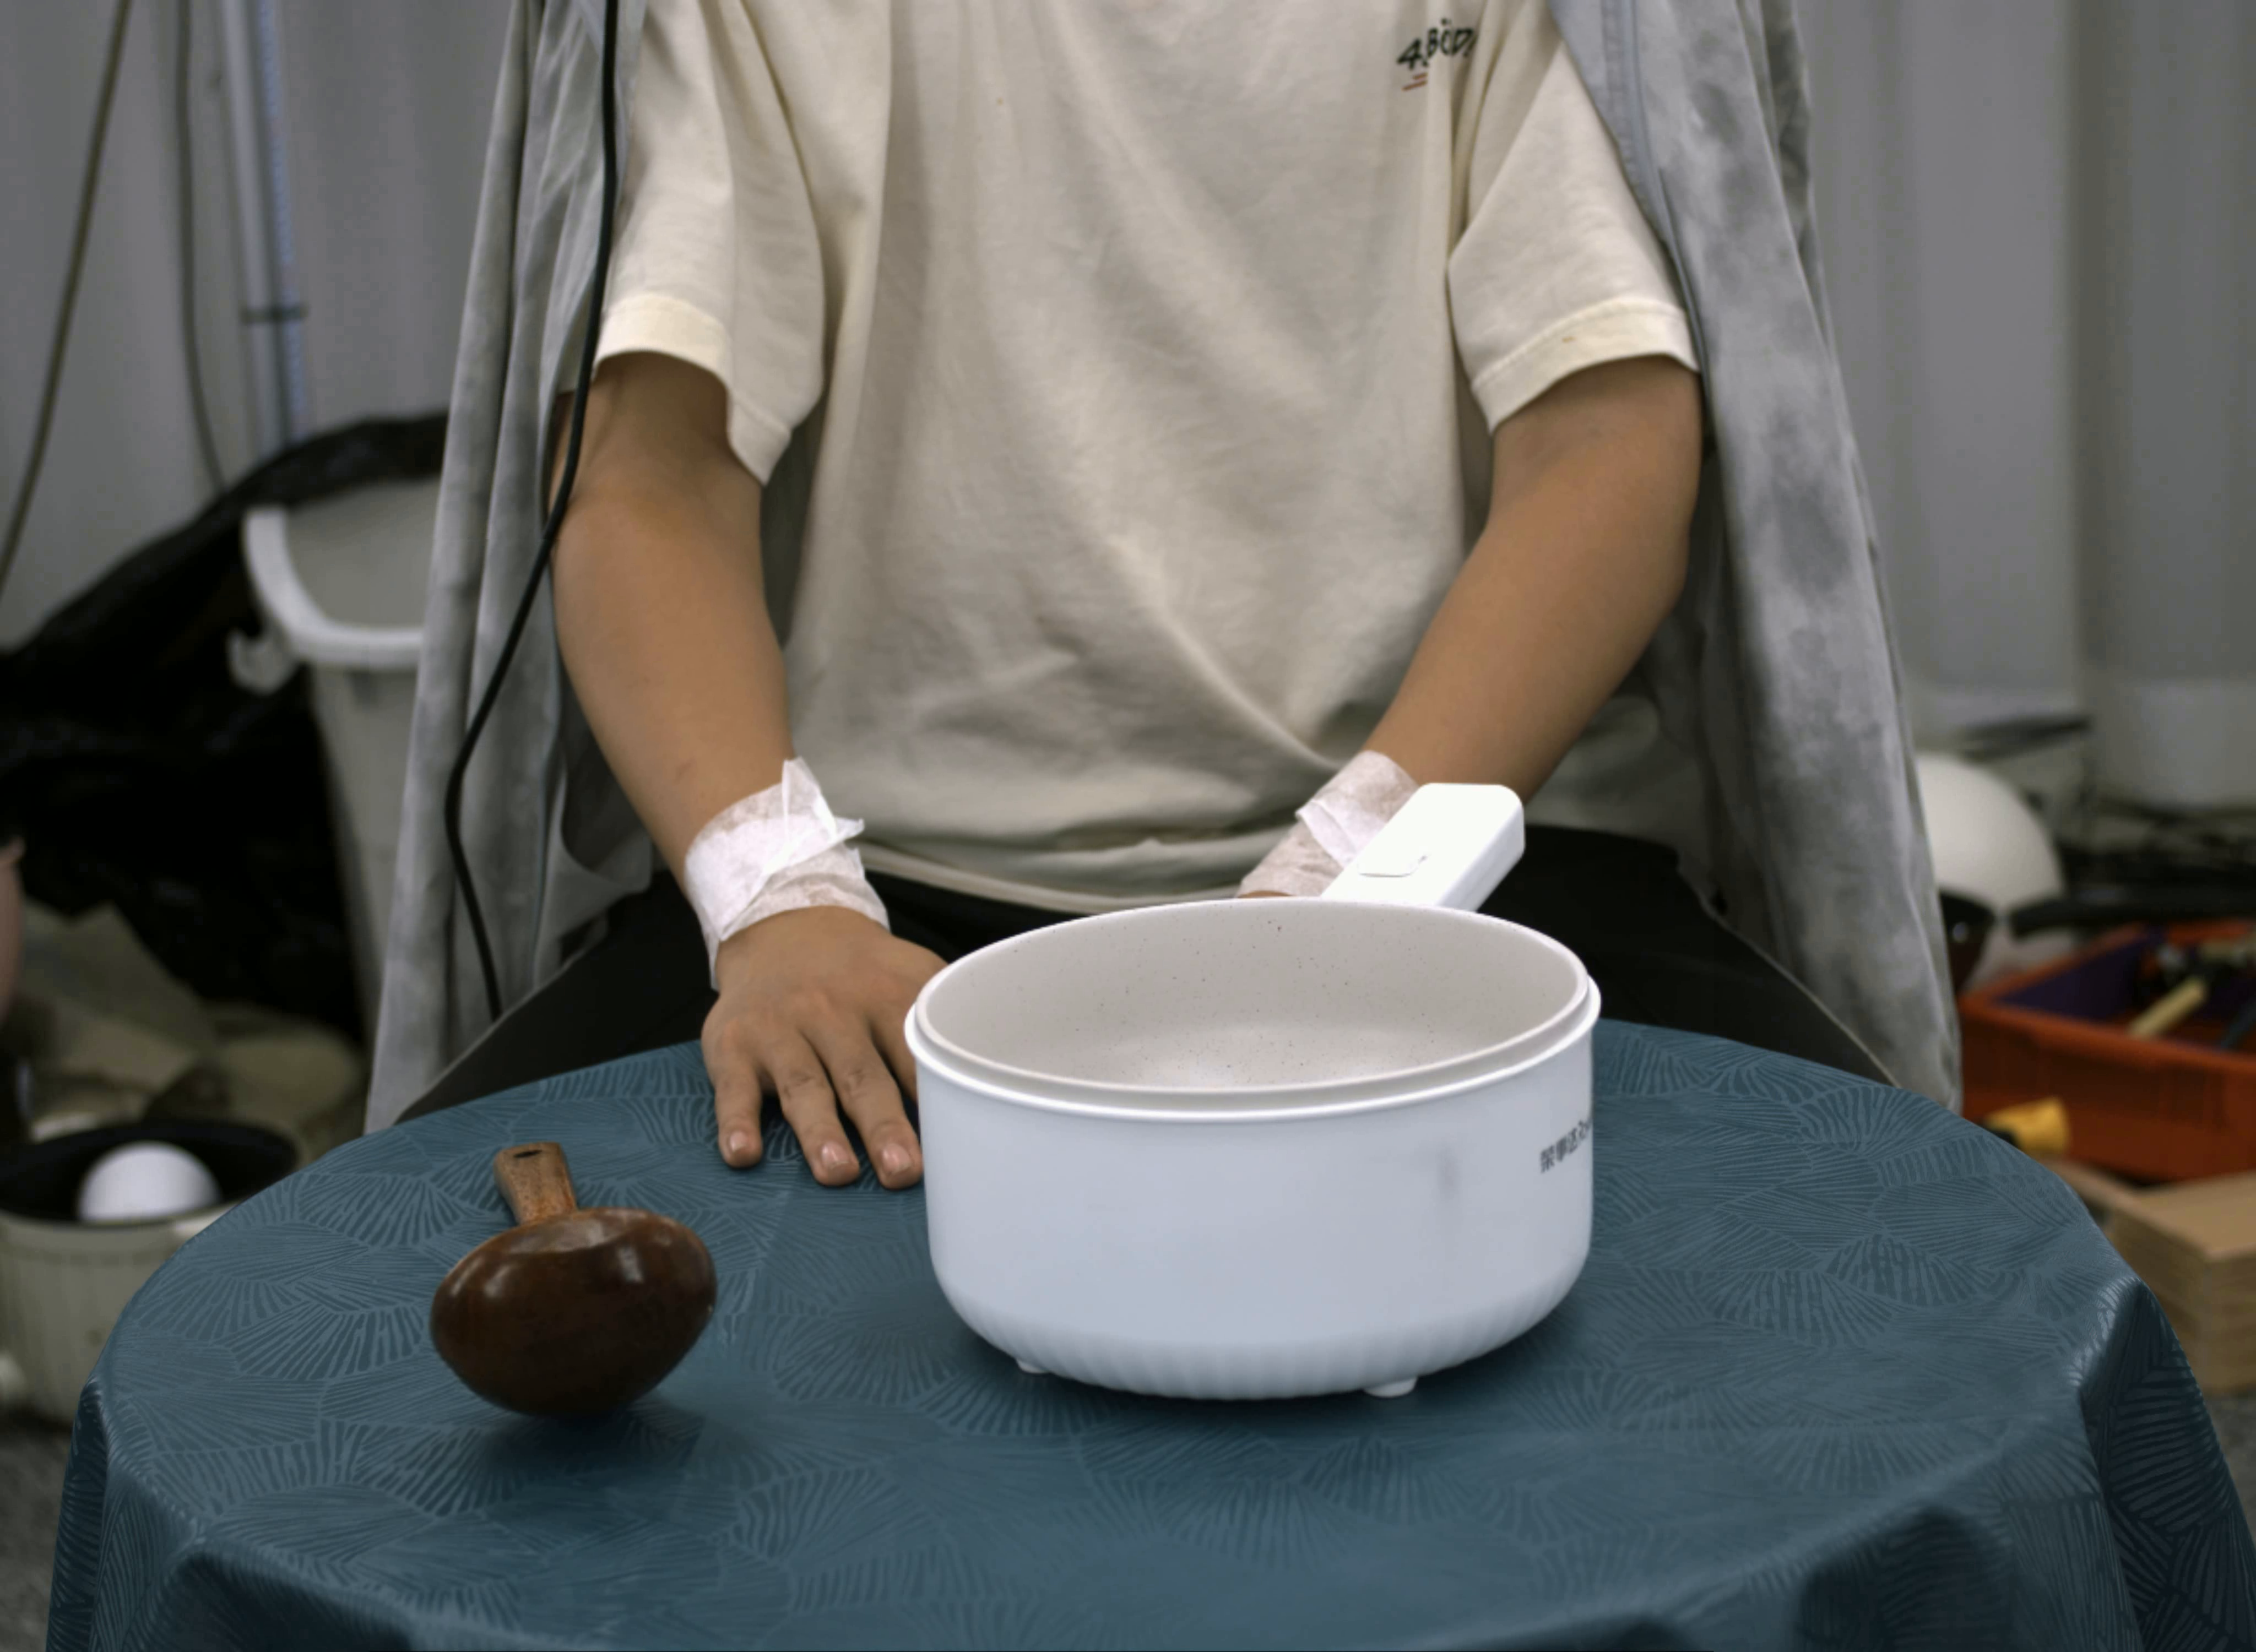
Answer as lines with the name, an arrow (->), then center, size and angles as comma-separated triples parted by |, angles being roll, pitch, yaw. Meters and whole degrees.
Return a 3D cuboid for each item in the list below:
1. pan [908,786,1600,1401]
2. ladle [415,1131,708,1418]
pan -> 0.062, 0.077, 1.661 | 0.201, 0.102, 0.356 | 1, 15, 18
ladle -> -0.172, 0.109, 1.621 | 0.081, 0.076, 0.276 | -6, 16, -7
